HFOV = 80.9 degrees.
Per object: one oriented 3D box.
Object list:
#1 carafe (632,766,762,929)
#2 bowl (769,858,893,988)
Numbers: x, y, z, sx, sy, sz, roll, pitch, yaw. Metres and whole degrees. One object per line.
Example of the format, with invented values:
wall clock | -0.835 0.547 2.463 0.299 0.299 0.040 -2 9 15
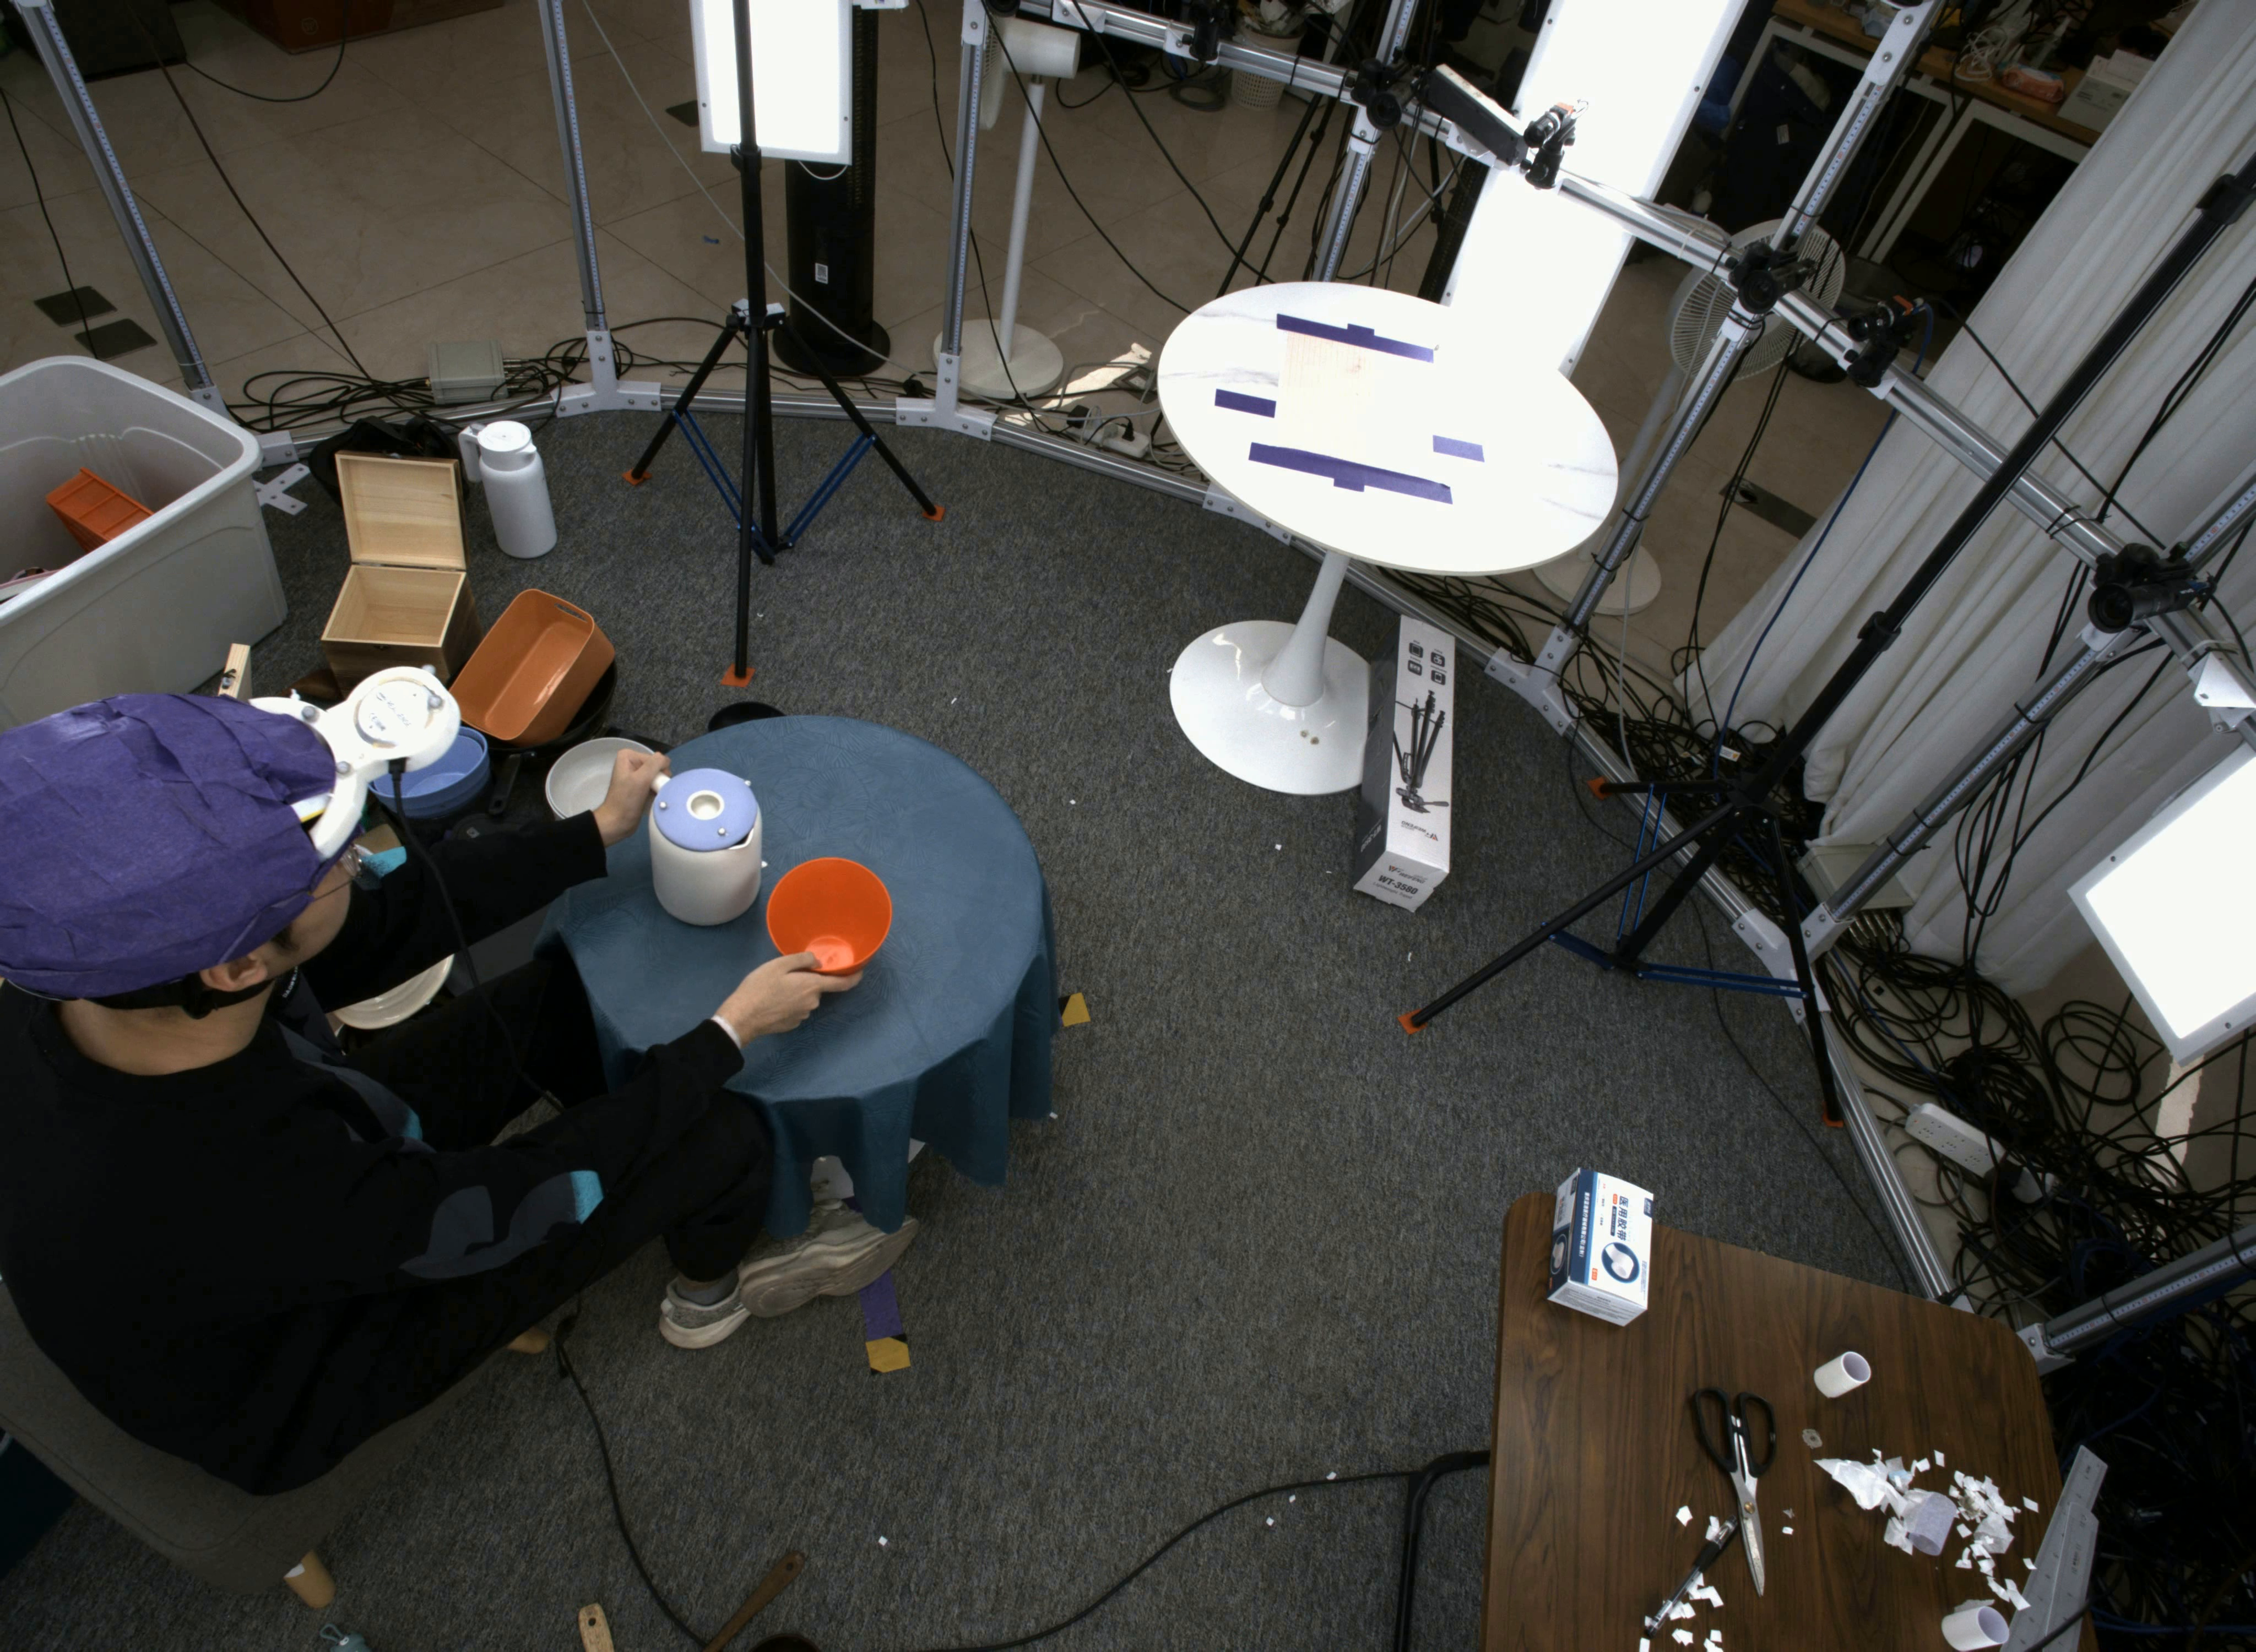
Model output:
carafe | -0.534 0.012 1.575 0.188 0.186 0.132 33 52 11
bowl | -0.362 0.129 1.586 0.148 0.107 0.145 8 51 -8
